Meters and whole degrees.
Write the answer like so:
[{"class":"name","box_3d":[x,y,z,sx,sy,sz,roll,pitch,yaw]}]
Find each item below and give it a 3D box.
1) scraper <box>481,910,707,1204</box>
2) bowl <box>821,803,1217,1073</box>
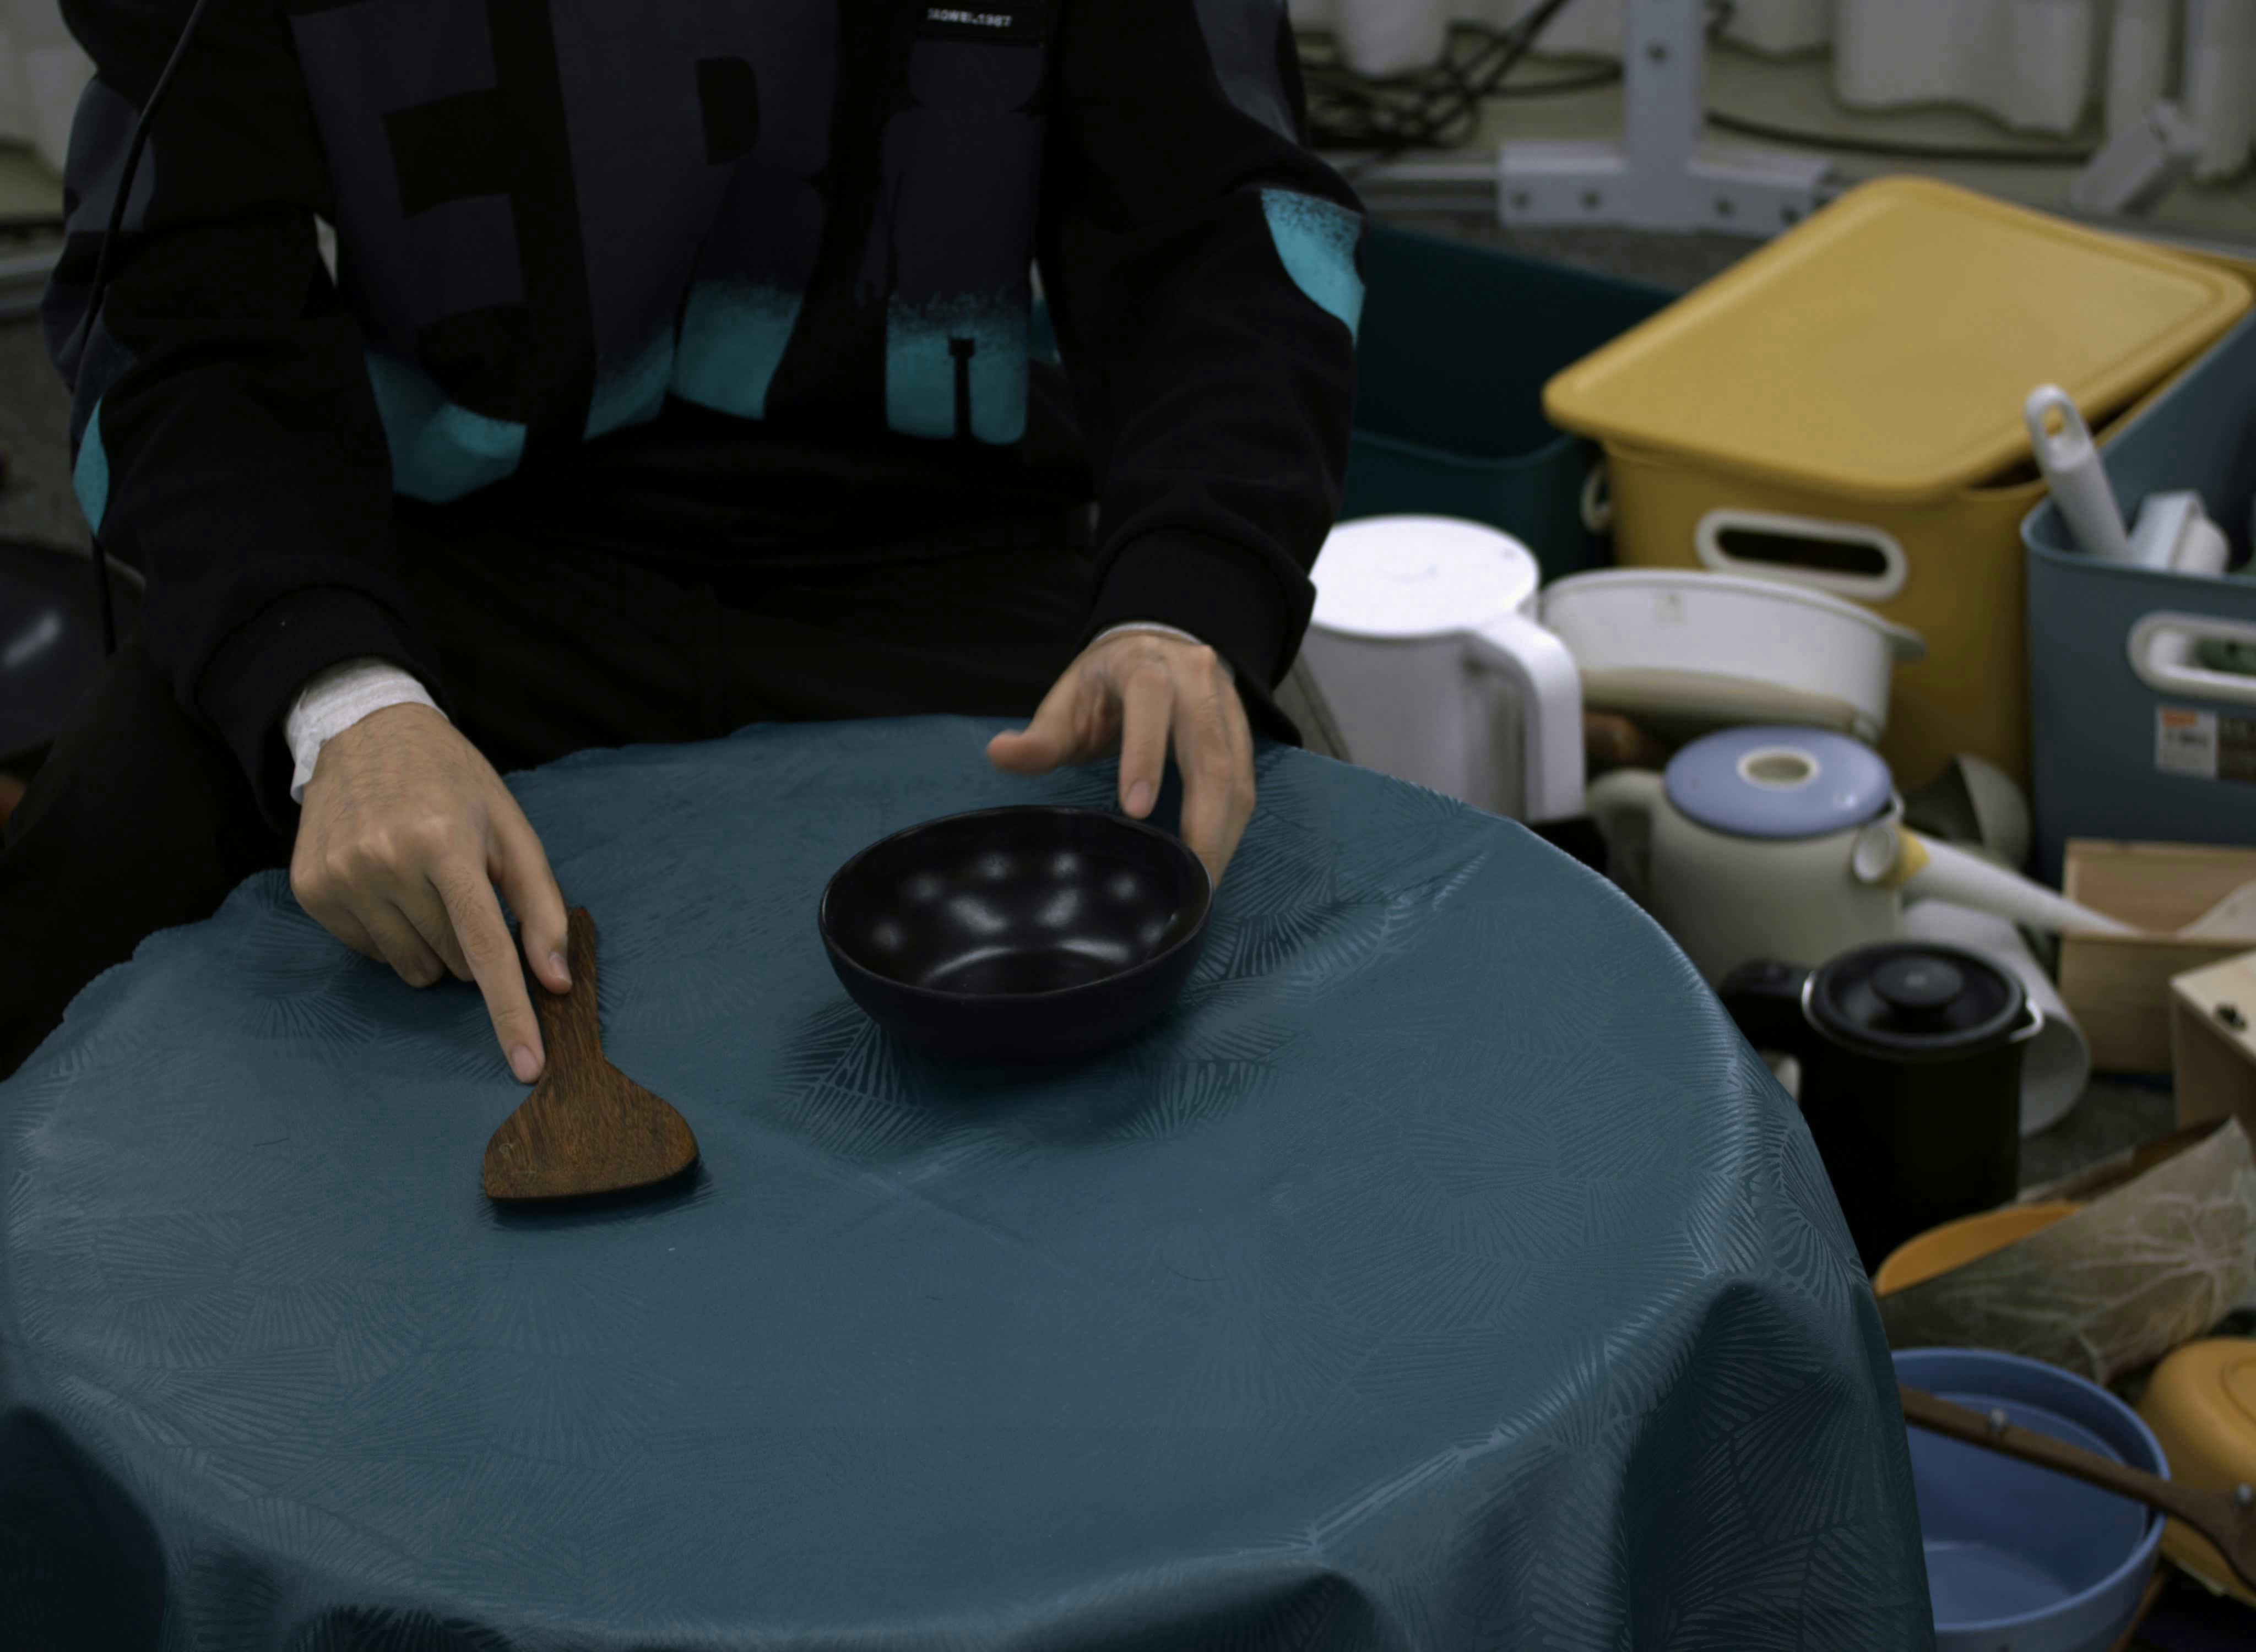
[{"class":"scraper","box_3d":[-0.192,0.080,1.953,0.075,0.011,0.214,-5,27,-7]},{"class":"bowl","box_3d":[-0.036,0.047,1.957,0.139,0.049,0.142,-4,28,3]}]
